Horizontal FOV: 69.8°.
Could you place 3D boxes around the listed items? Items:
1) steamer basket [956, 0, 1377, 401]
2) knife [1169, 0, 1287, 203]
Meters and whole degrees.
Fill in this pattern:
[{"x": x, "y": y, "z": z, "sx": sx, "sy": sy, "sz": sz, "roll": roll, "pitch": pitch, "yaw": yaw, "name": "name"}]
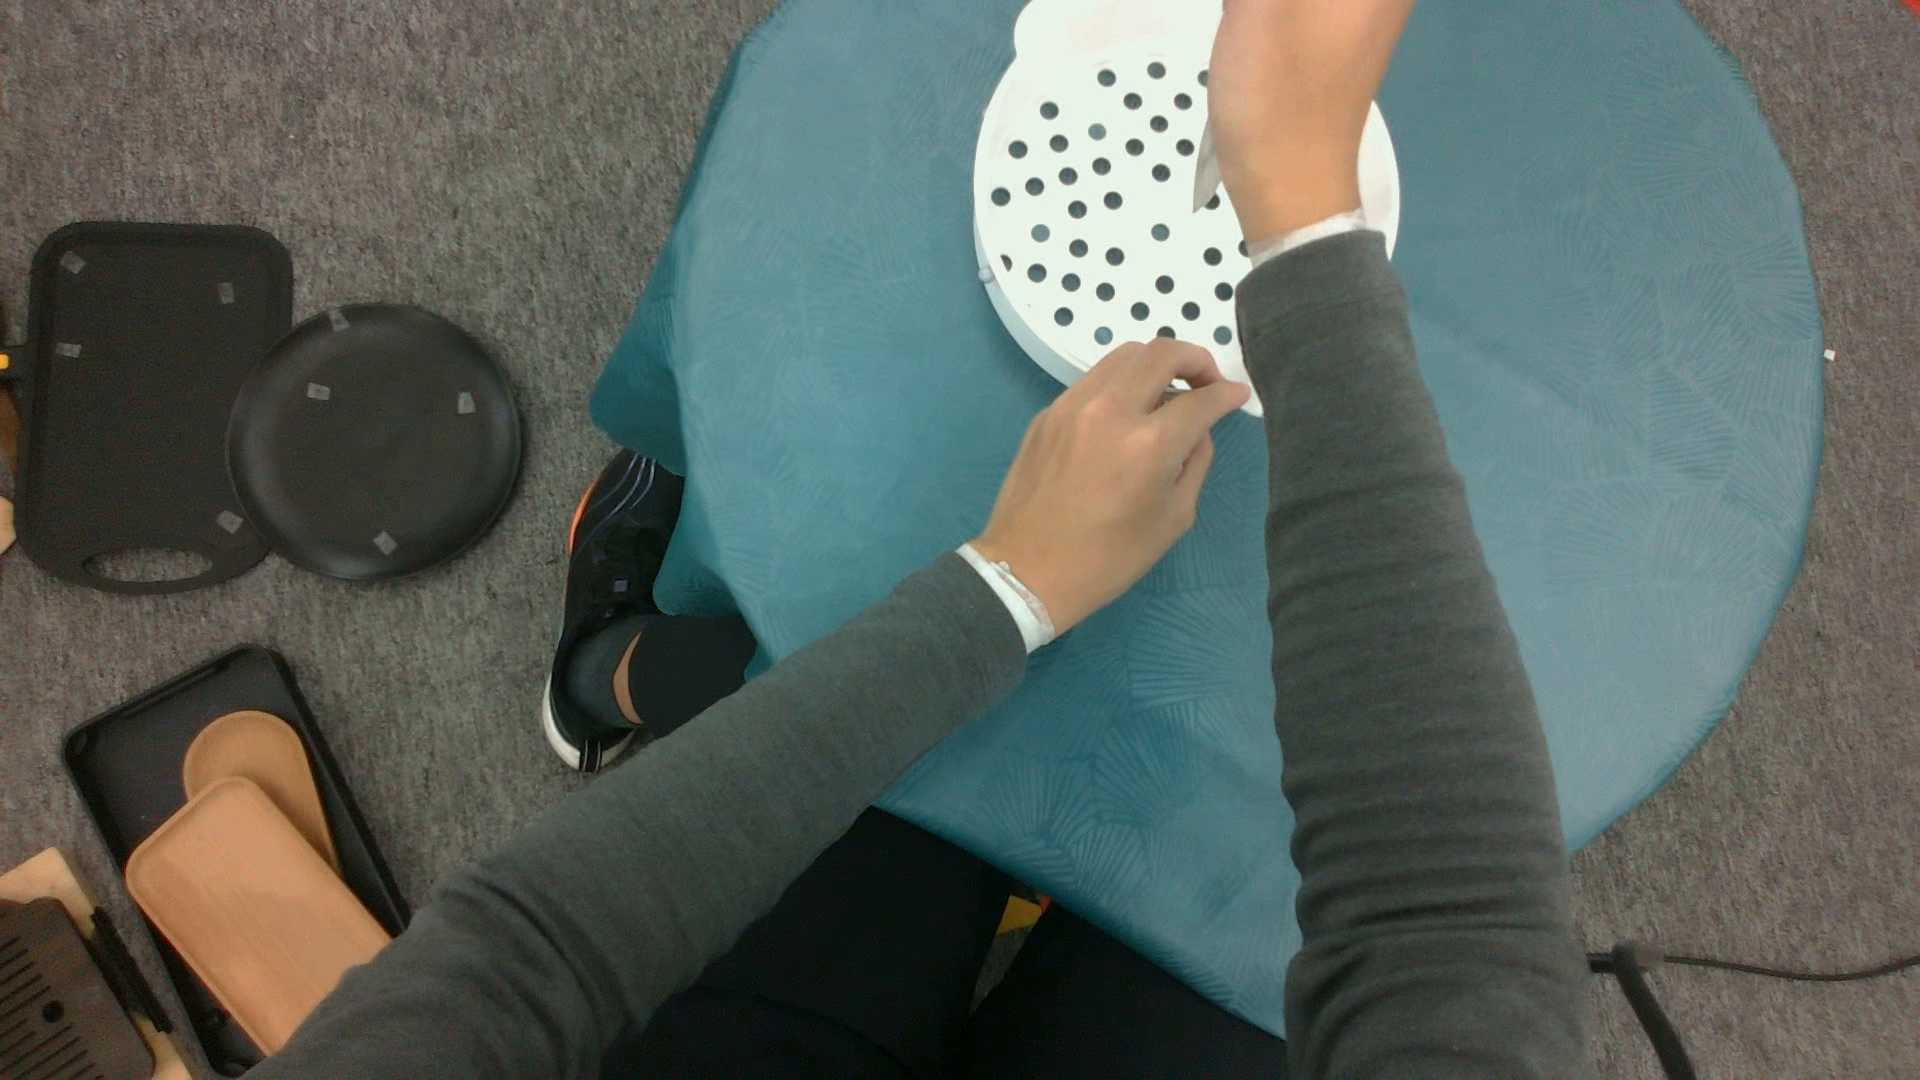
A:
[{"x": 0.096, "y": -0.170, "z": 0.674, "sx": 0.202, "sy": 0.069, "sz": 0.230, "roll": -30, "pitch": 87, "yaw": -7, "name": "steamer basket"}, {"x": 0.108, "y": -0.188, "z": 0.561, "sx": 0.016, "sy": 0.237, "sz": 0.024, "roll": -21, "pitch": 80, "yaw": -6, "name": "knife"}]
